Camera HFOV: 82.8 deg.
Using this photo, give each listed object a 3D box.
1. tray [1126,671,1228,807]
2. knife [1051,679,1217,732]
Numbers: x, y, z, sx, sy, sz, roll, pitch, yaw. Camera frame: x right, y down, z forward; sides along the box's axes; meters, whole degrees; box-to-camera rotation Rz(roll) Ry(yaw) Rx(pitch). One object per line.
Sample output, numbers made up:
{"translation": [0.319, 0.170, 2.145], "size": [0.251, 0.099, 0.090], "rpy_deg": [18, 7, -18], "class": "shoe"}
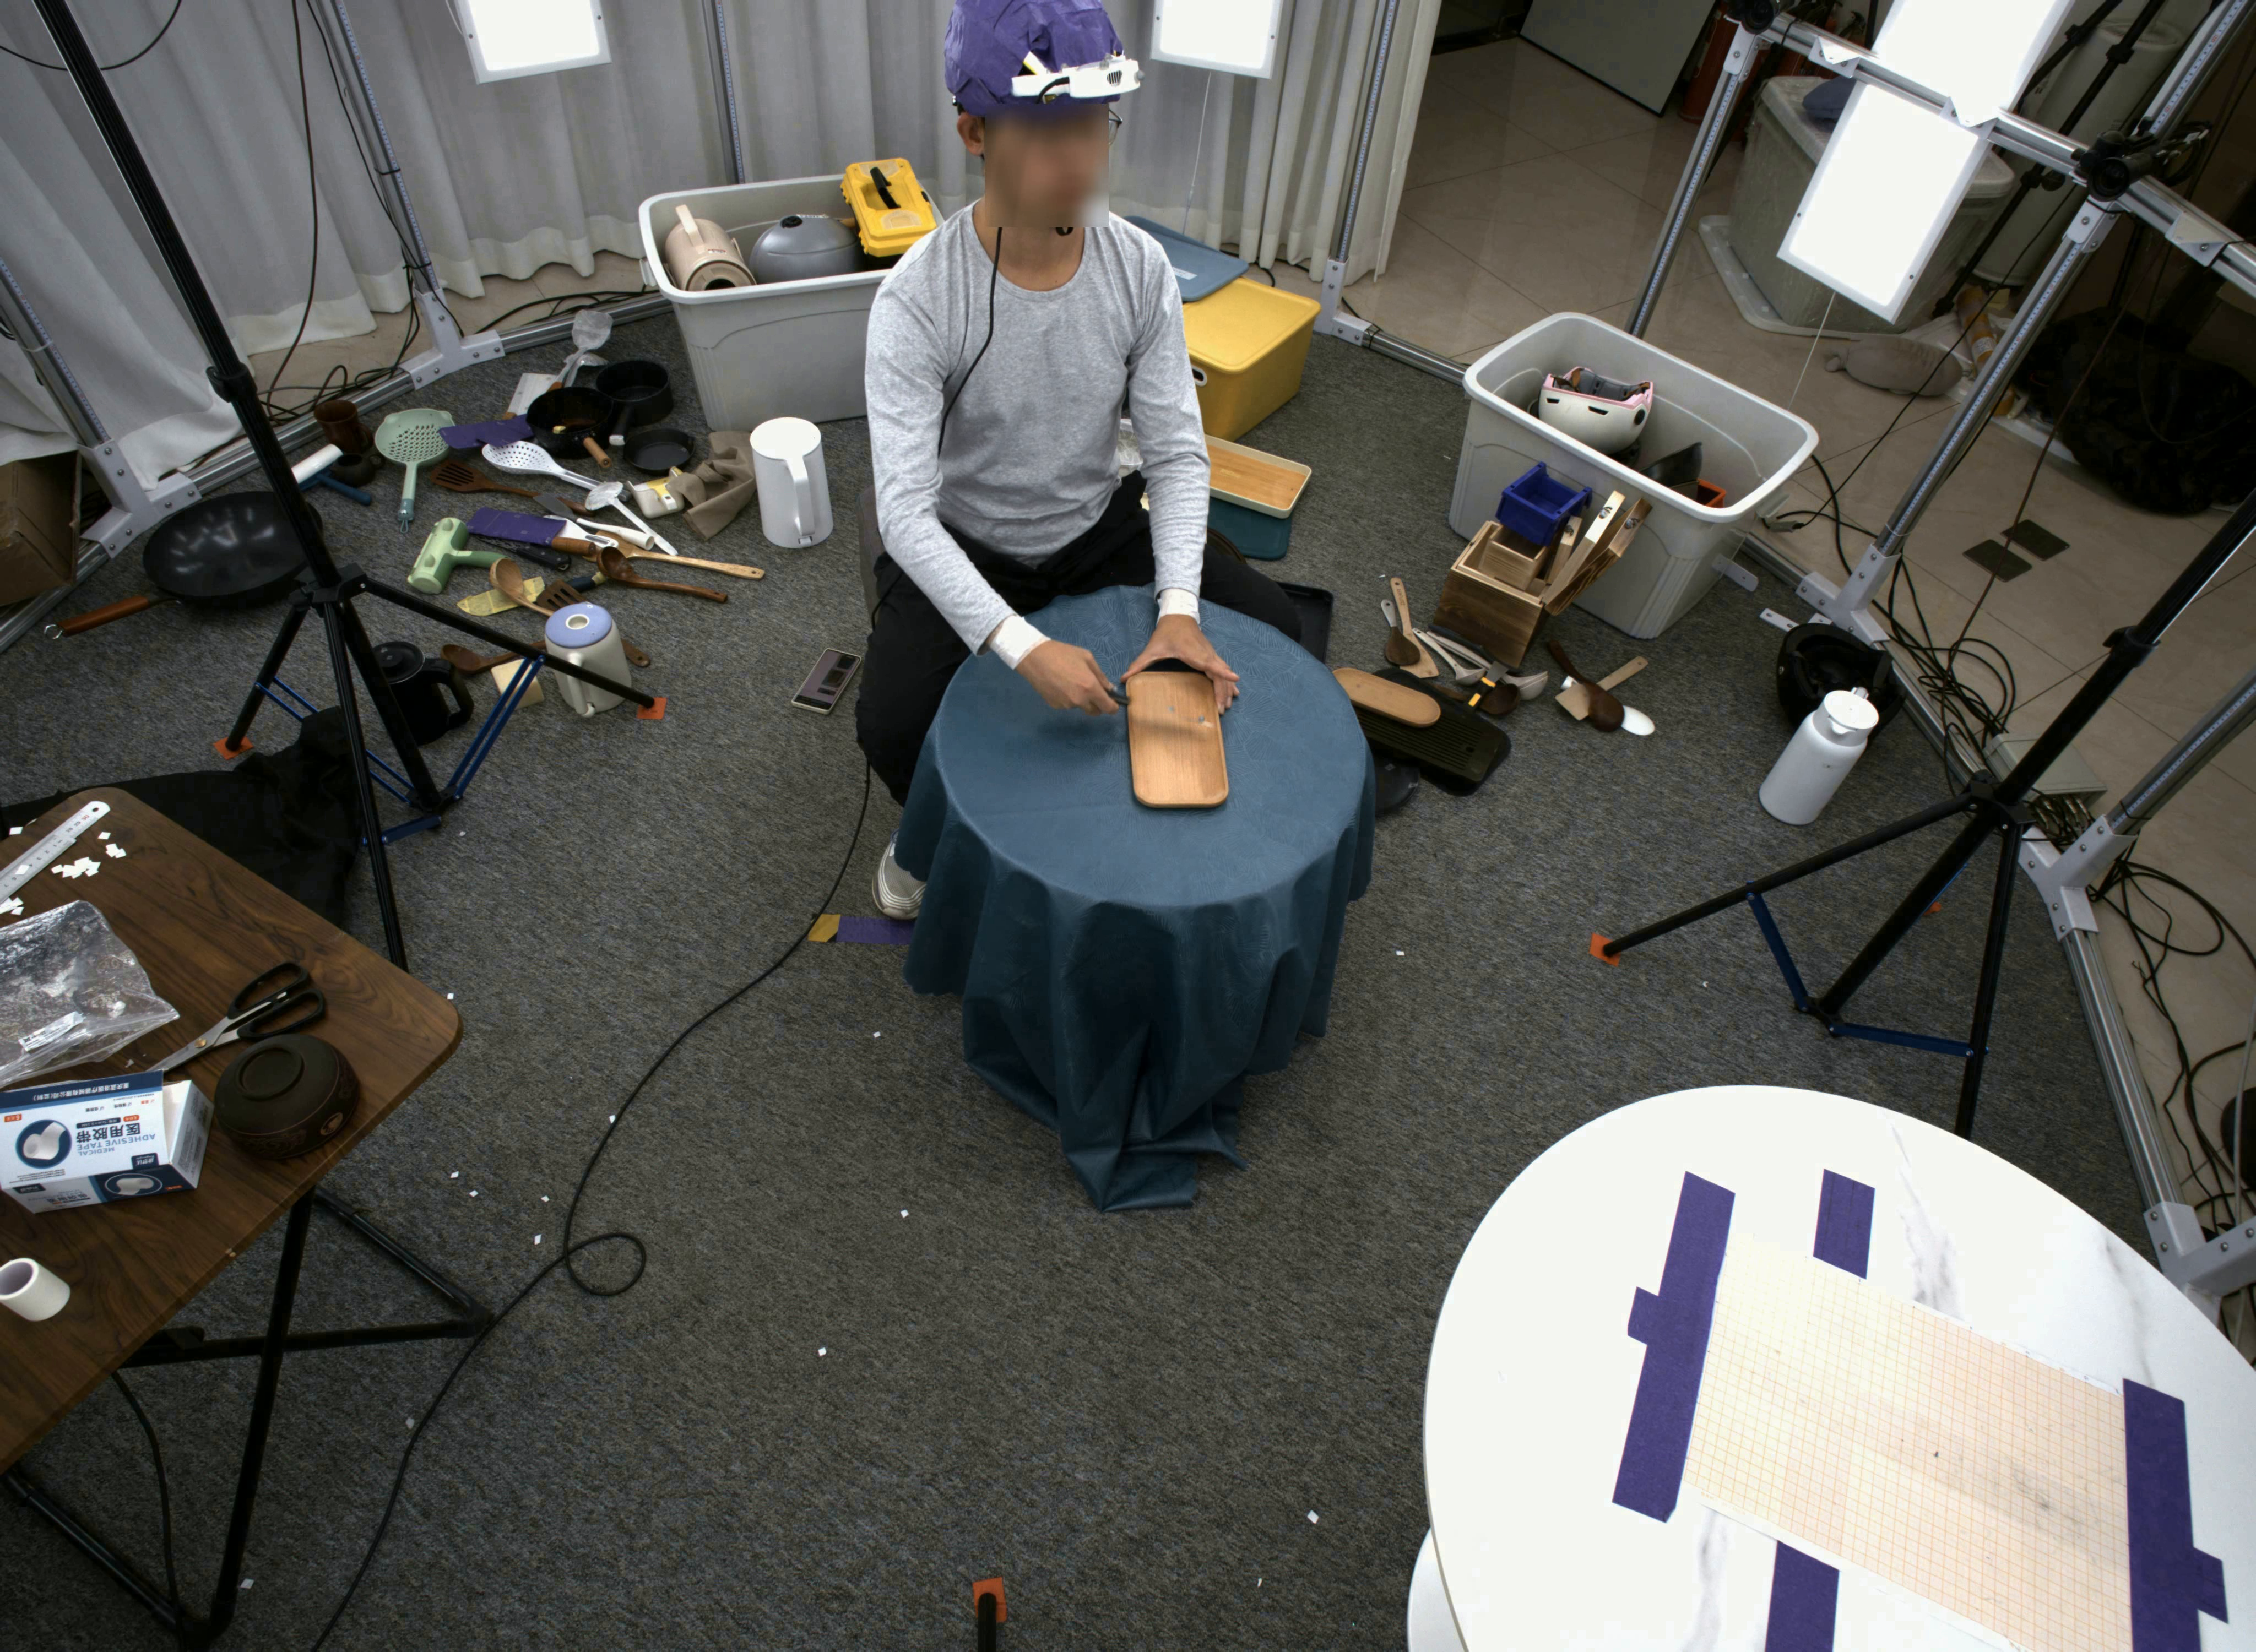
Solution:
{"translation": [0.065, -0.122, 1.767], "size": [0.130, 0.022, 0.257], "rpy_deg": [2, 48, -5], "class": "tray"}
{"translation": [0.009, -0.162, 1.754], "size": [0.238, 0.016, 0.024], "rpy_deg": [16, 11, -3], "class": "knife"}
